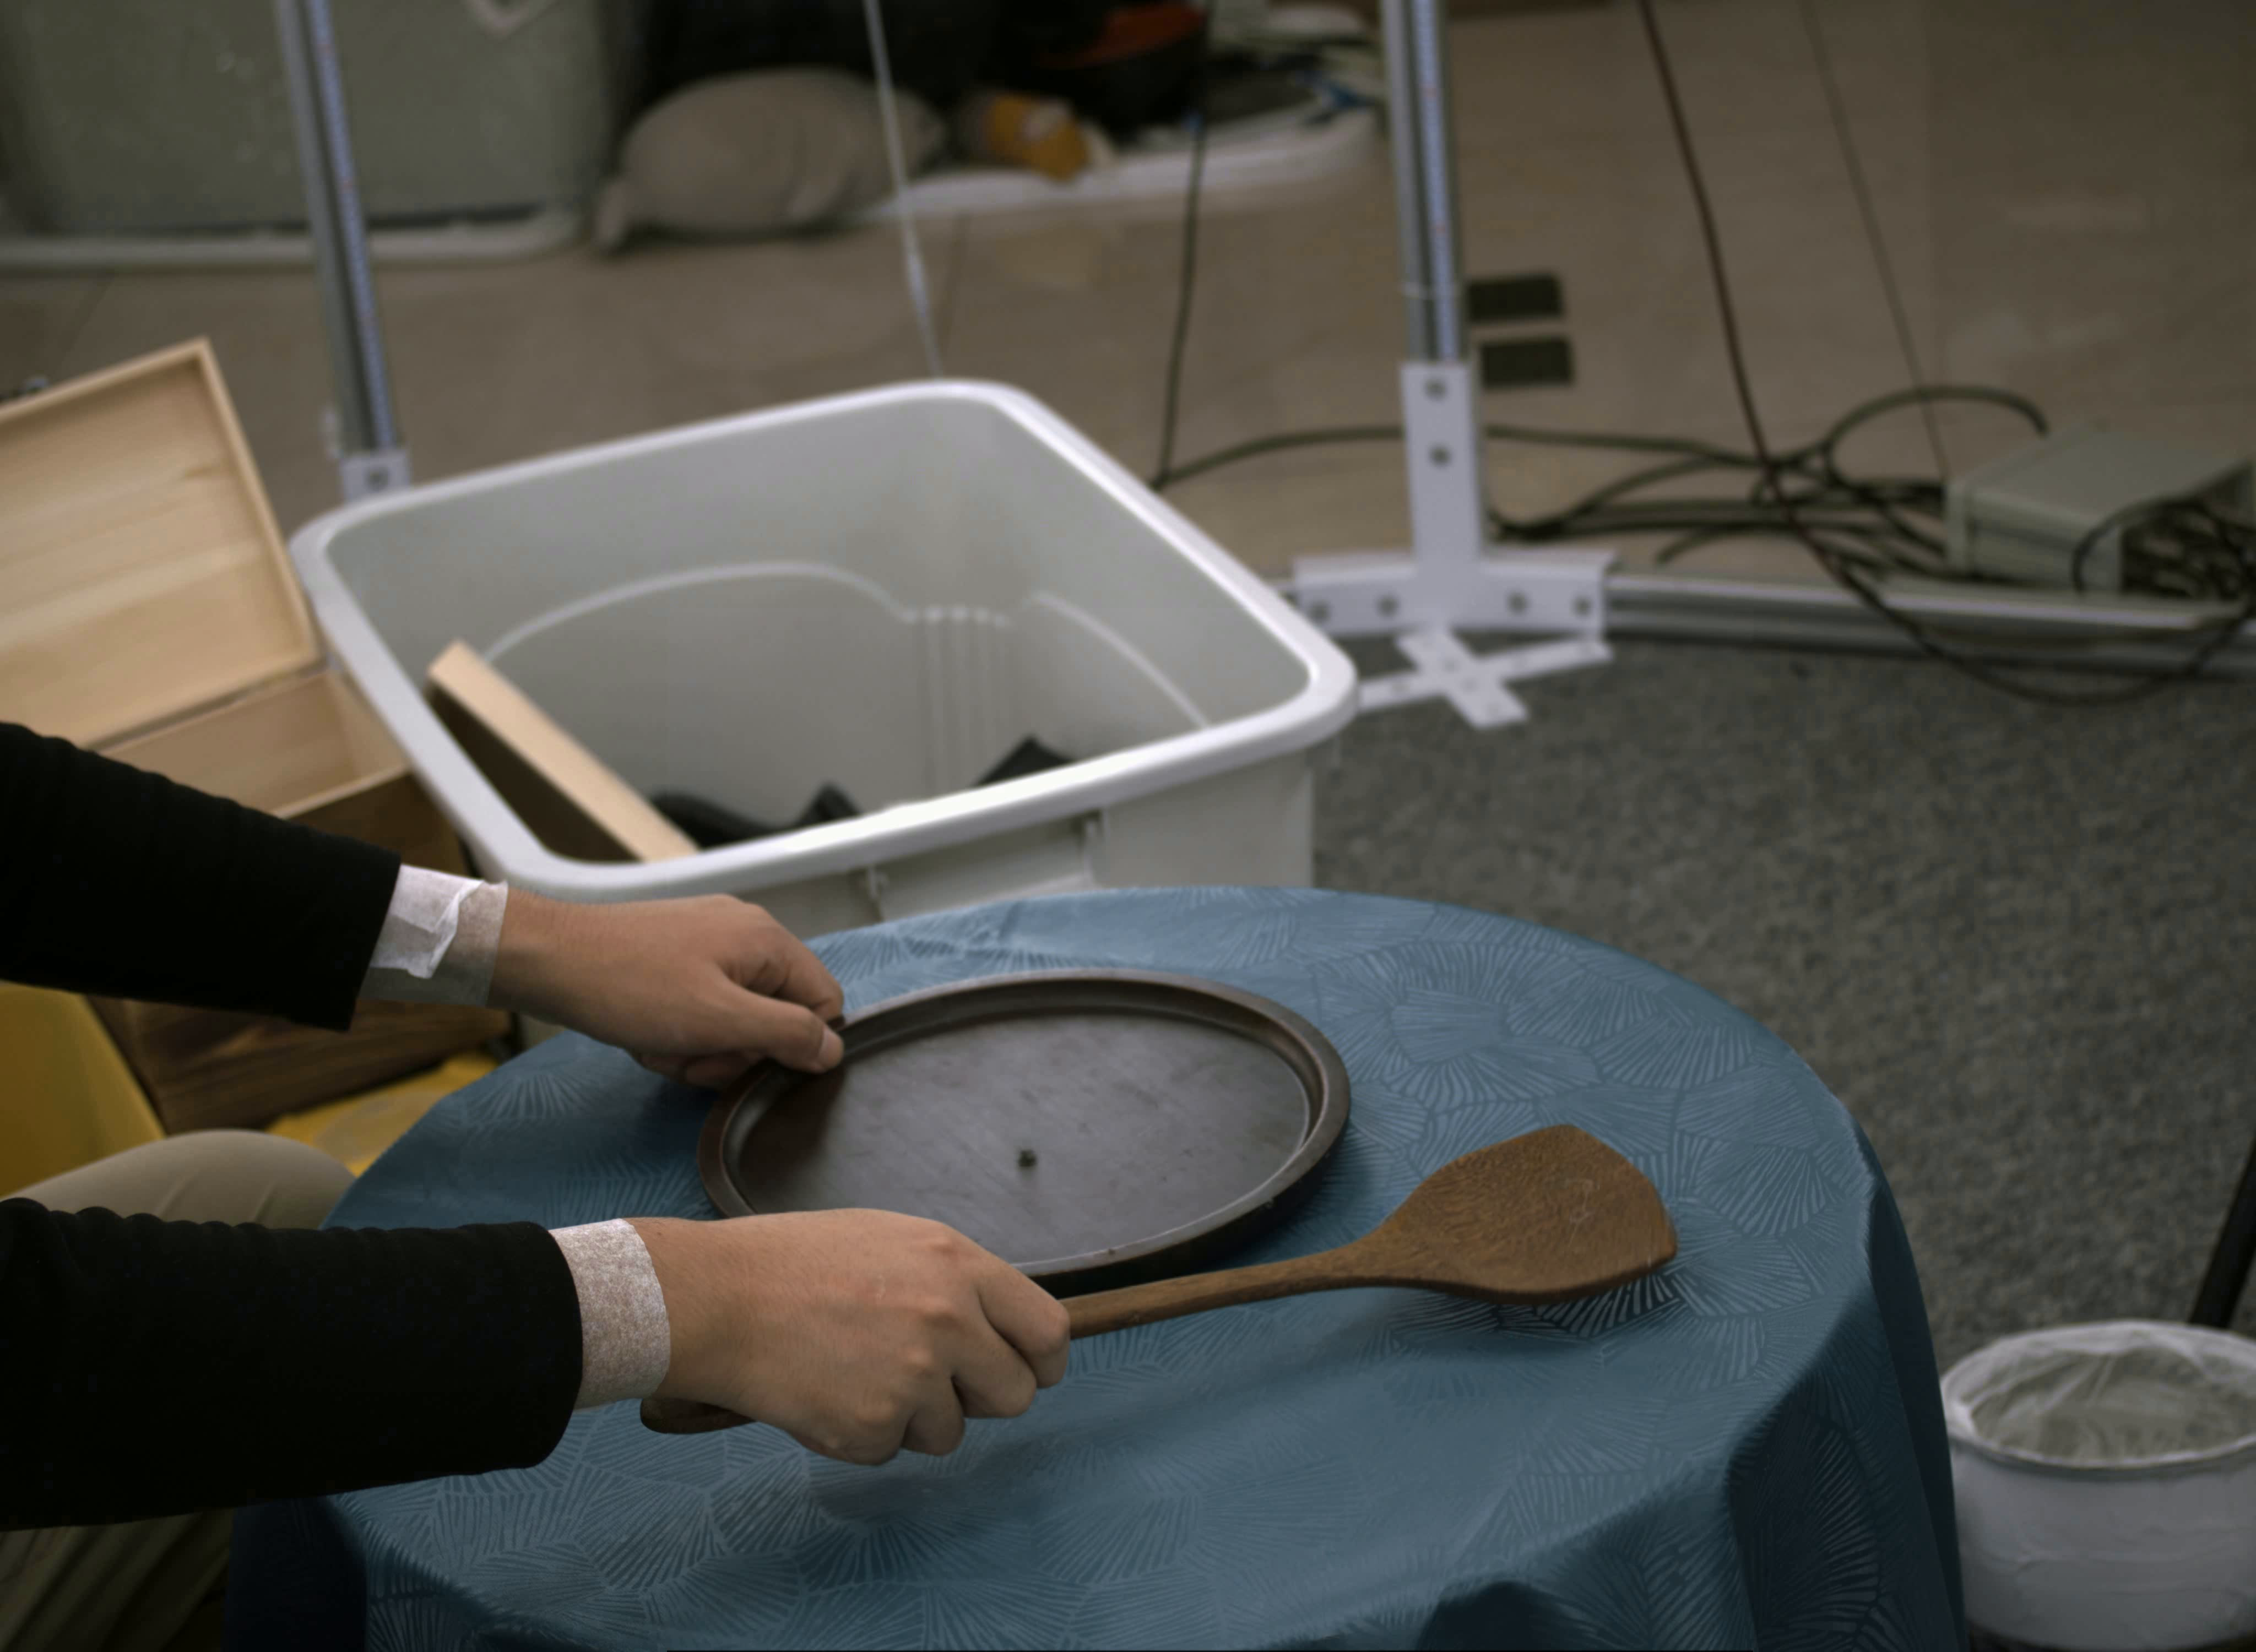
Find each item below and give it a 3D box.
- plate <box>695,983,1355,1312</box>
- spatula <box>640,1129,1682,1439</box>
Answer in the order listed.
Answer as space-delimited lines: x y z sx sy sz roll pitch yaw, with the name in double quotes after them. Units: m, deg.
-0.039 0.121 2.171 0.254 0.029 0.251 -4 24 2 "plate"
0.013 0.166 1.995 0.385 0.016 0.094 -11 31 -20 "spatula"
